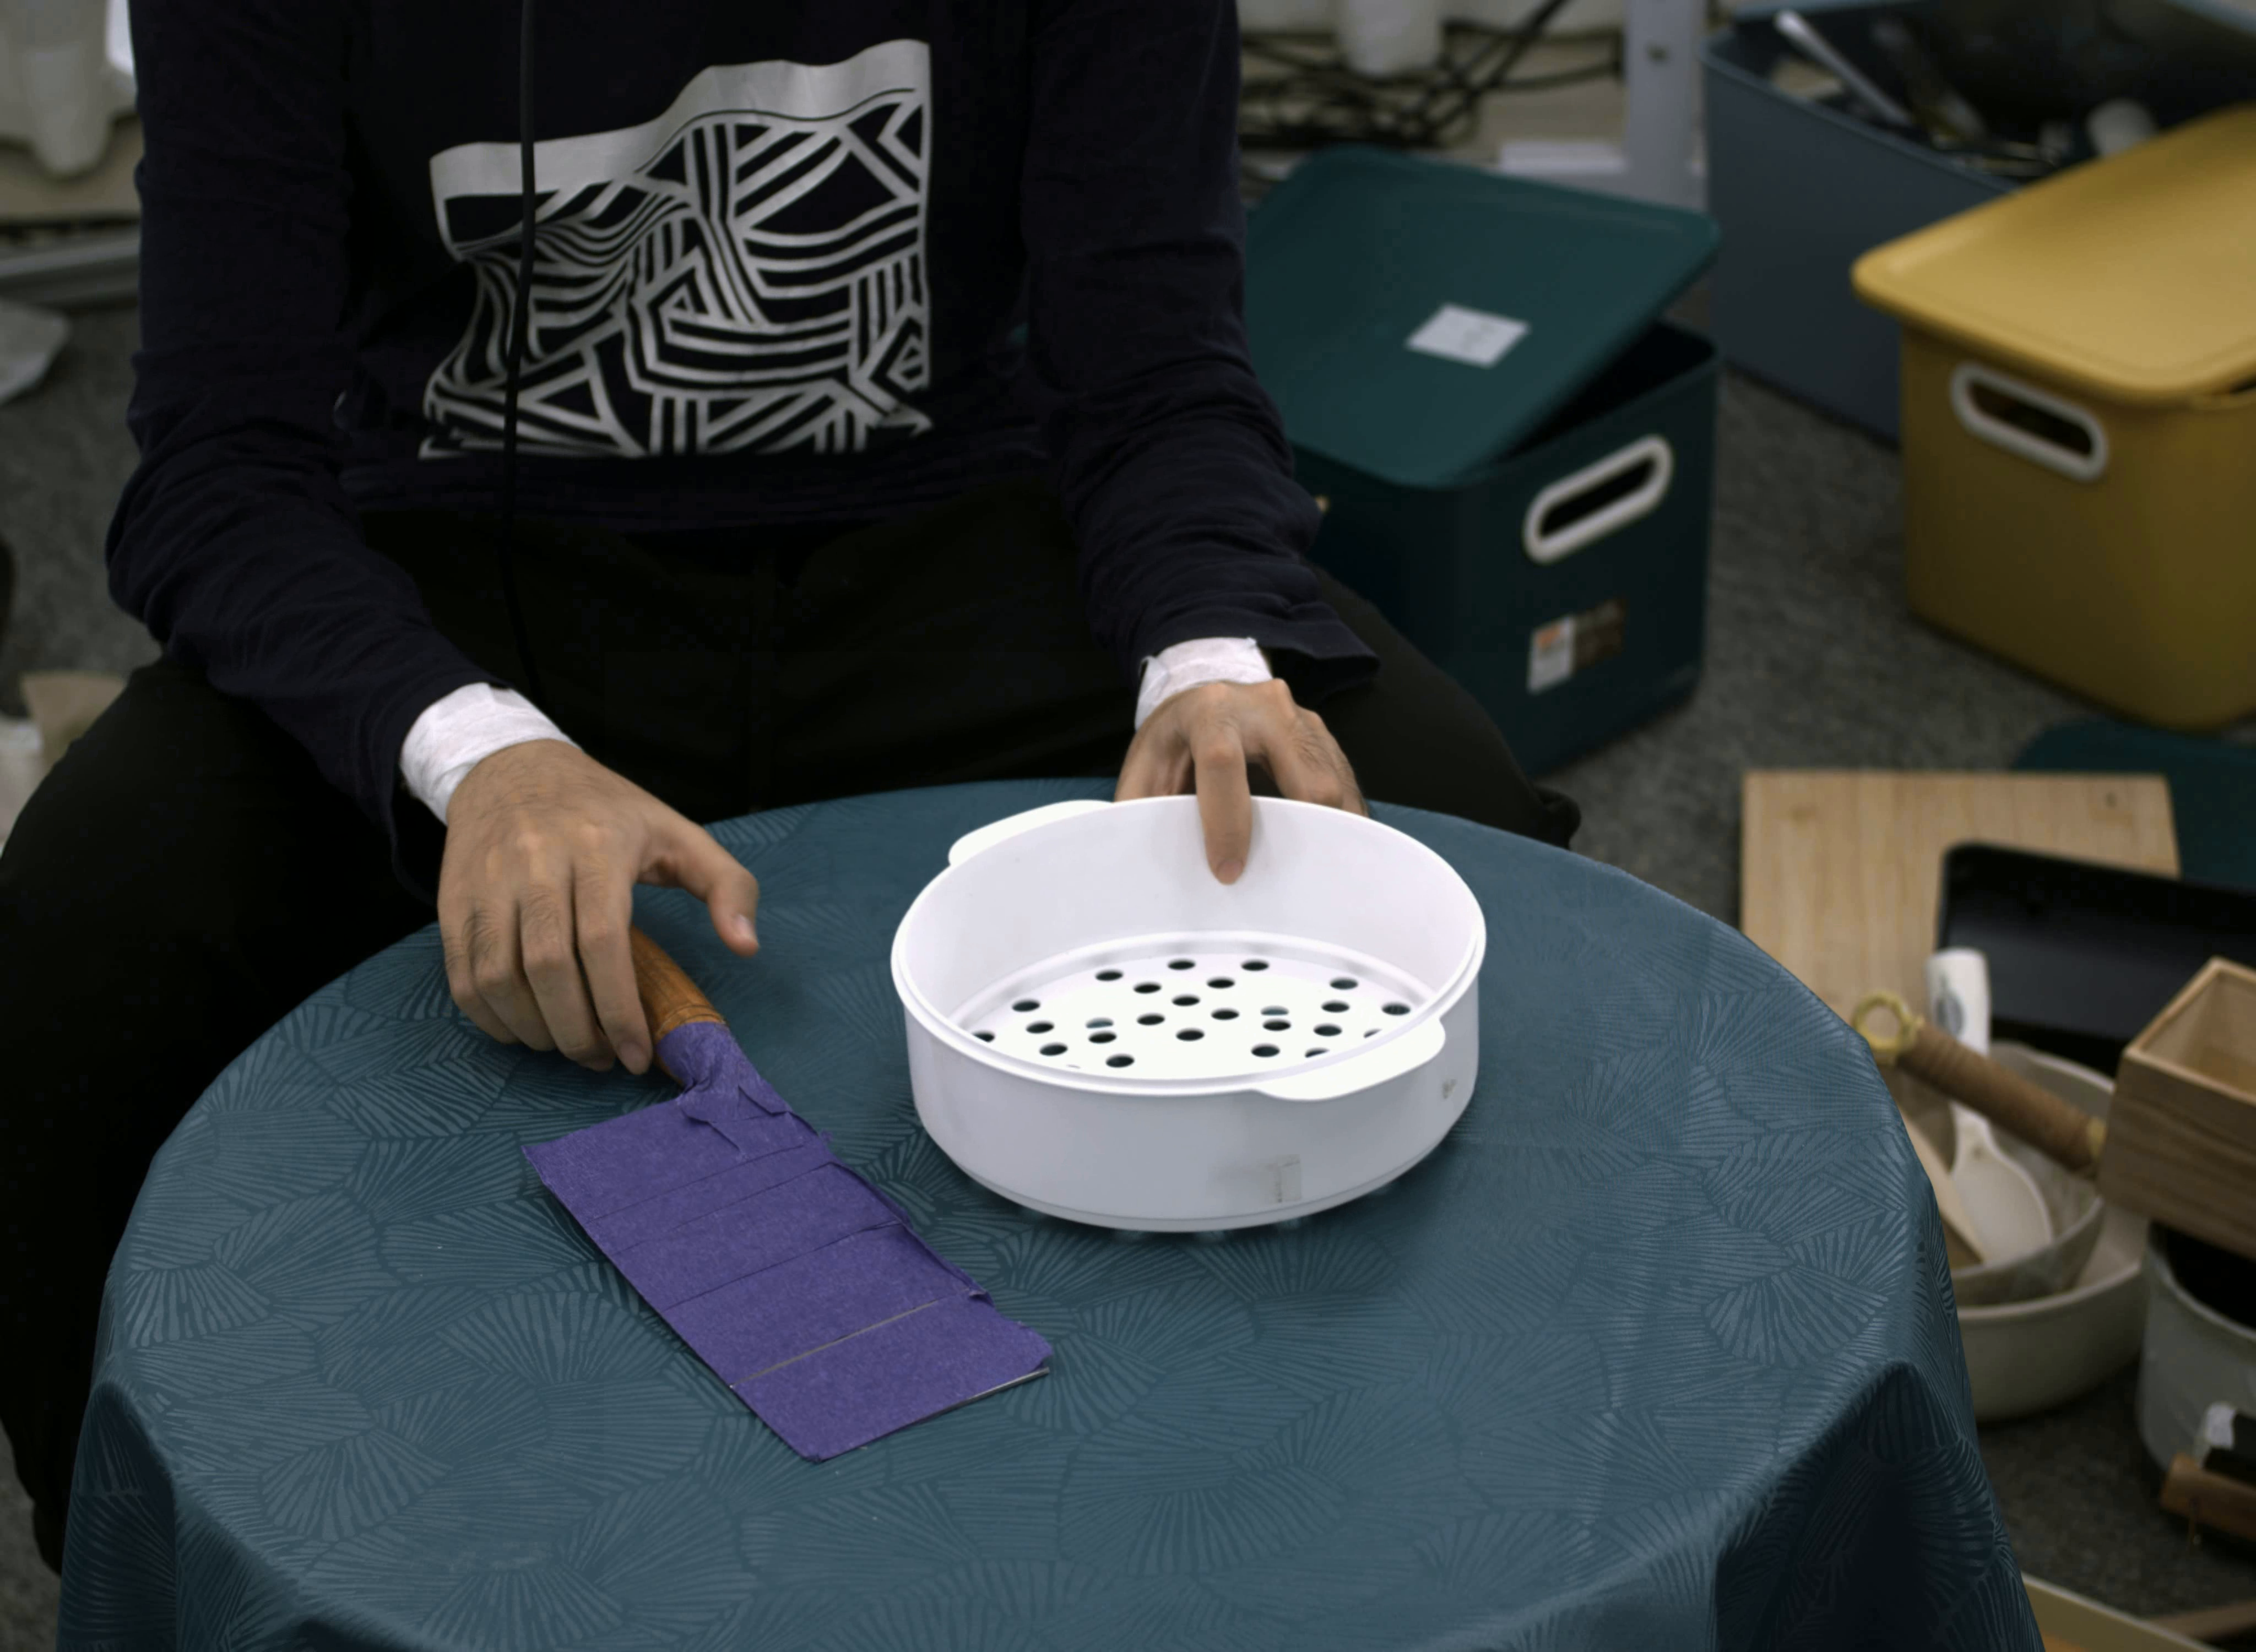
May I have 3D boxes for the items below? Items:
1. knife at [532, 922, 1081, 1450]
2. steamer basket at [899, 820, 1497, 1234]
[{"bbox_3d":[-0.138,0.115,1.858,0.104,0.032,0.316,-17,31,-27],"label":"knife"},{"bbox_3d":[0.025,0.068,1.893,0.203,0.068,0.231,-17,28,-29],"label":"steamer basket"}]
